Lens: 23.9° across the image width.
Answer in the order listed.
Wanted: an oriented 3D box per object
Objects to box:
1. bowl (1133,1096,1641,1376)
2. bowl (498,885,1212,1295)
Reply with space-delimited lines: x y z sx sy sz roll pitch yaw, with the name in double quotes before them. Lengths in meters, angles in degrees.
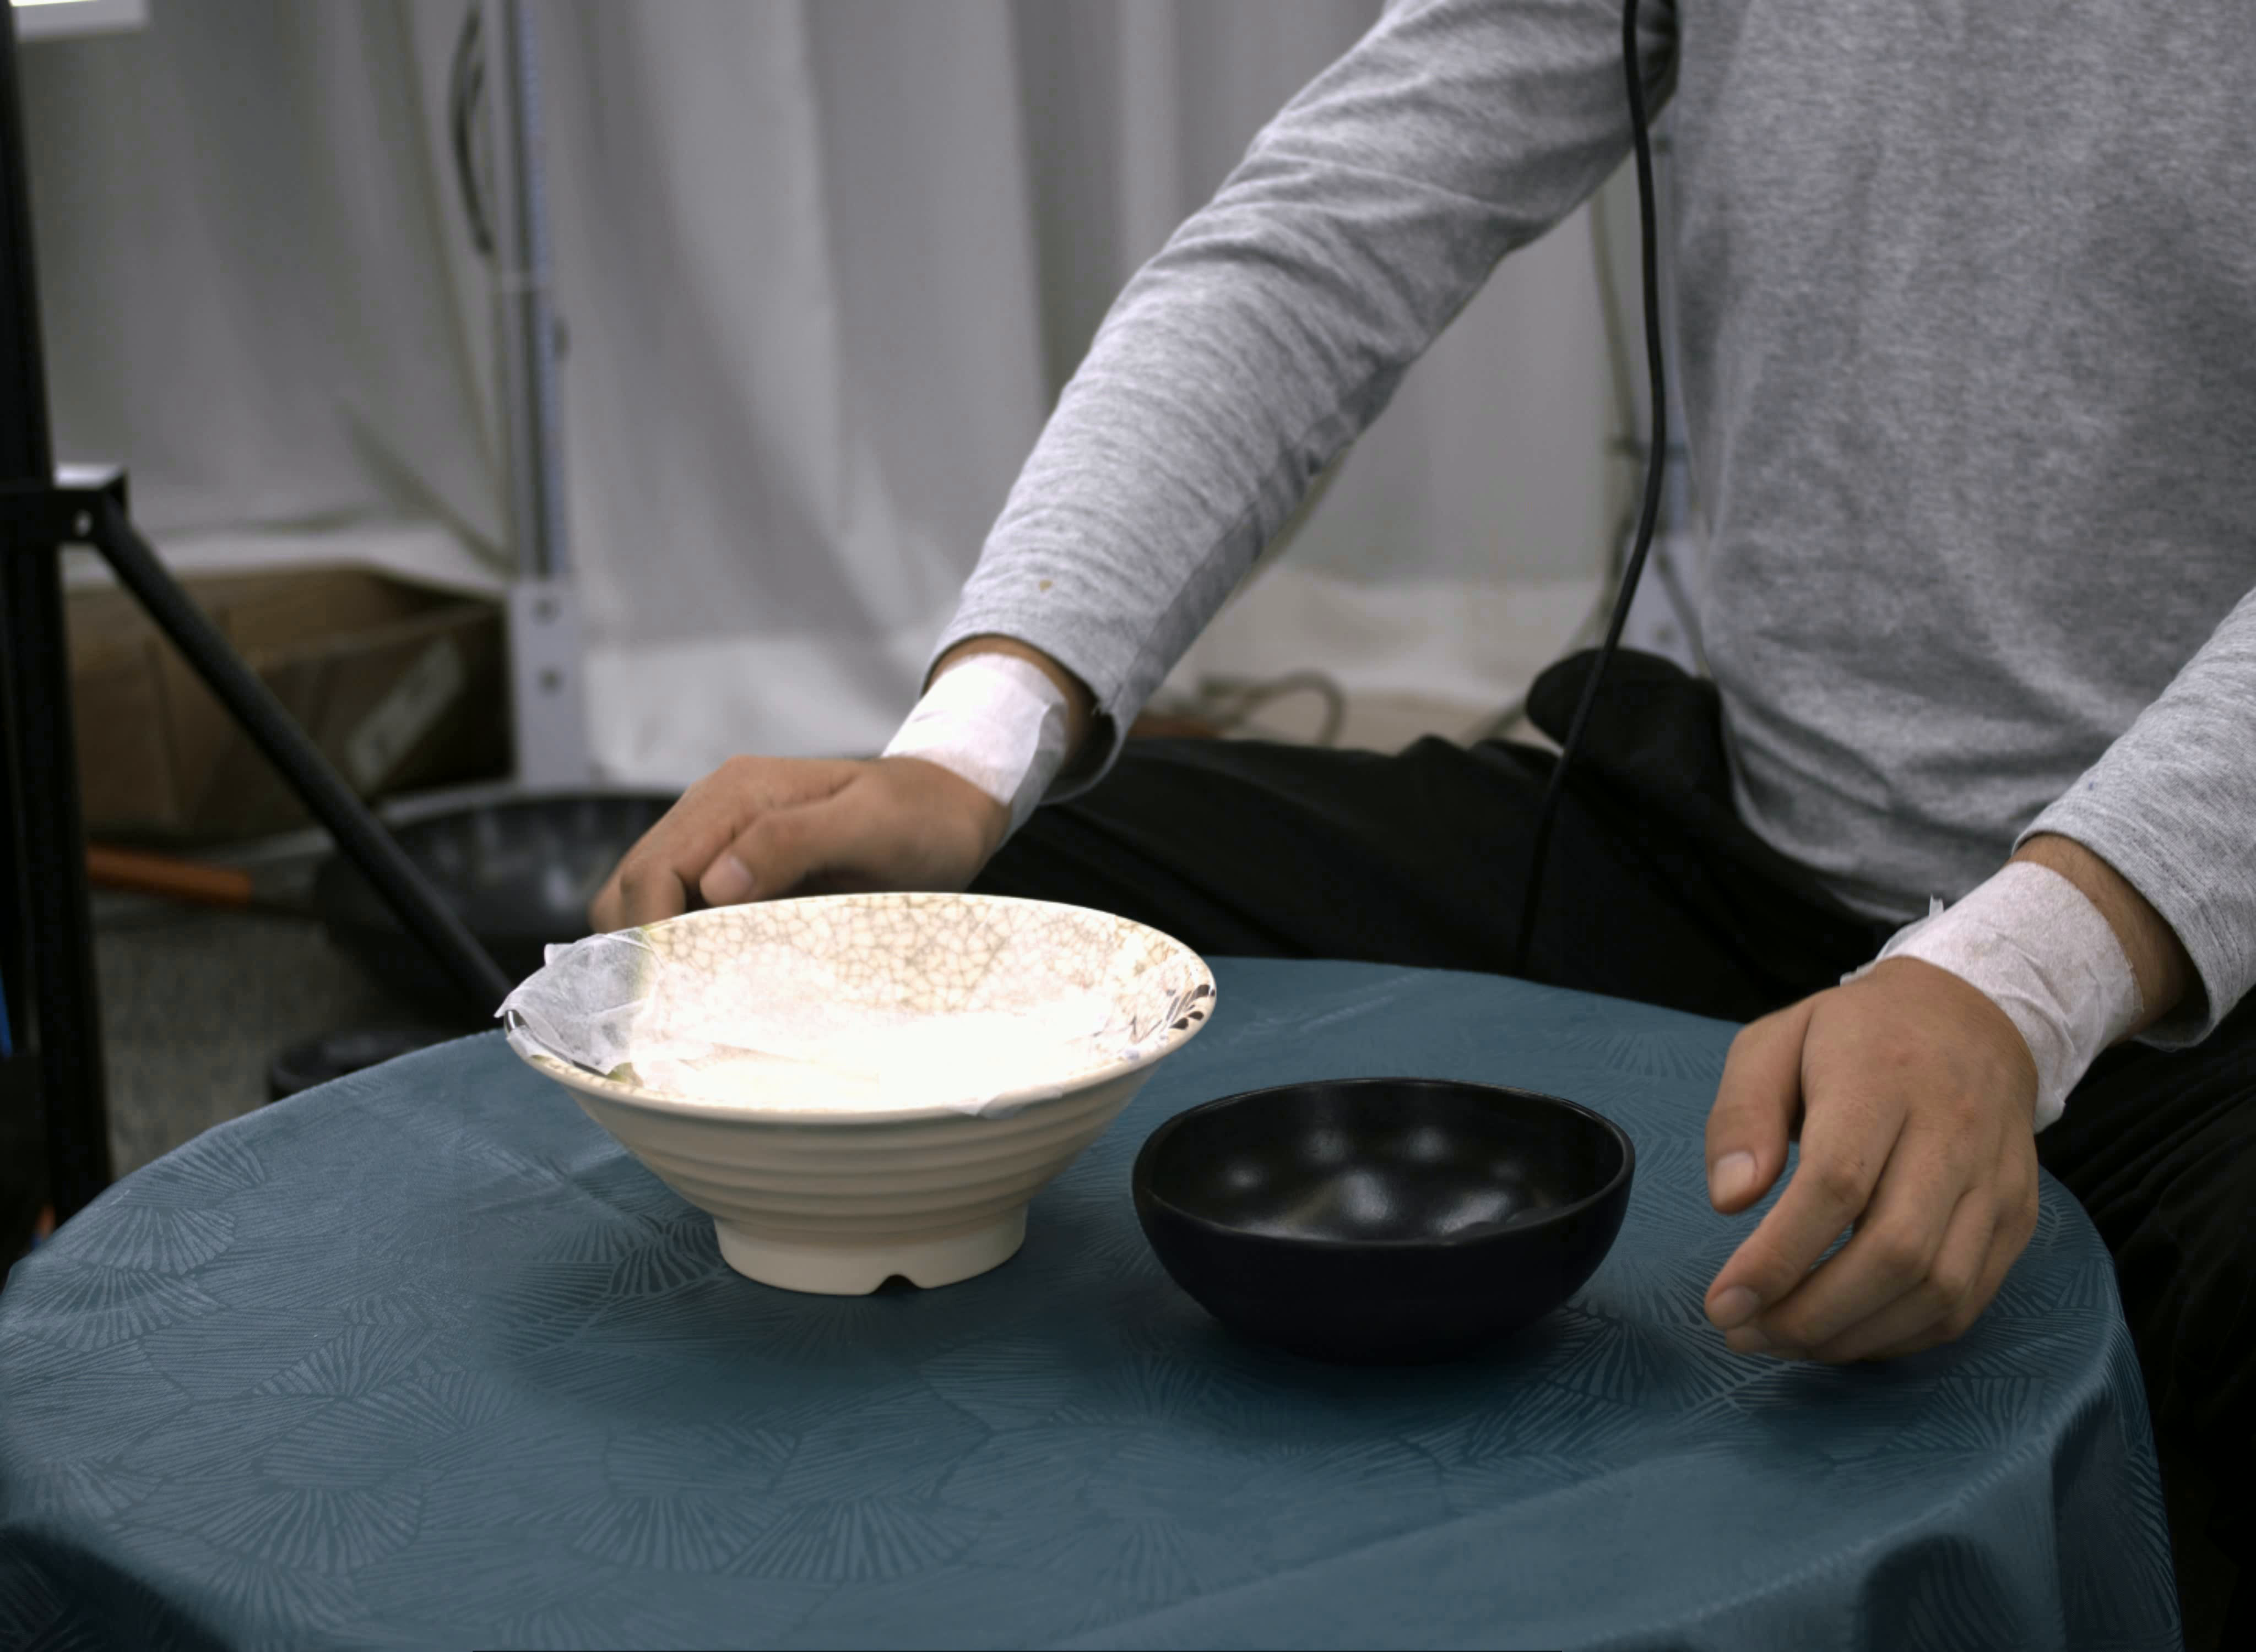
"bowl" 0.070 0.116 1.445 0.139 0.050 0.140 2 12 -2
"bowl" -0.077 0.083 1.521 0.203 0.078 0.205 -1 16 -1
